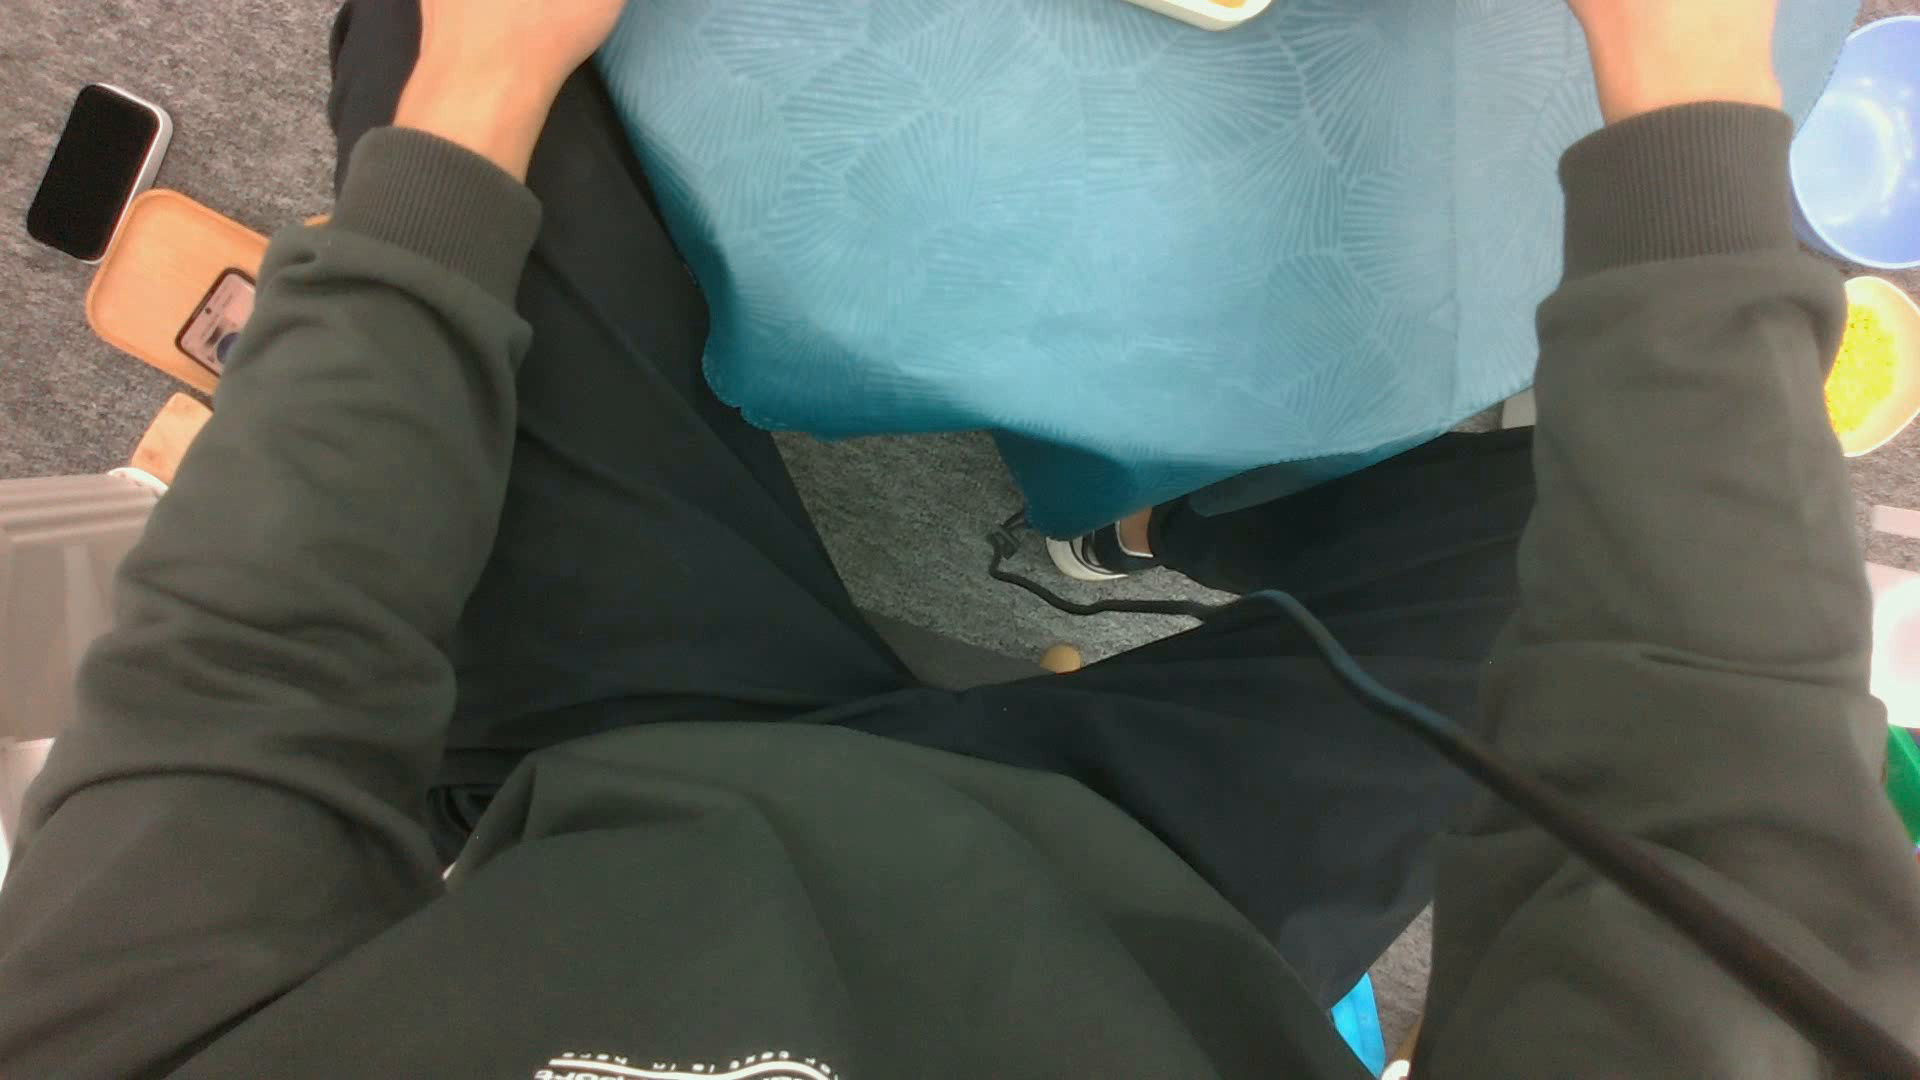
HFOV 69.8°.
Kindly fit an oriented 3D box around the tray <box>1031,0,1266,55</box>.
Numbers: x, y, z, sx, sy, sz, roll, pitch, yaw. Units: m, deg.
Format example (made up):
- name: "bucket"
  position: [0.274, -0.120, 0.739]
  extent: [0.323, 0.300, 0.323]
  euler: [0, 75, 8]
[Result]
- name: "tray"
  position: [0.003, -0.332, 0.559]
  extent: [0.300, 0.027, 0.191]
  euler: [15, 96, -8]
